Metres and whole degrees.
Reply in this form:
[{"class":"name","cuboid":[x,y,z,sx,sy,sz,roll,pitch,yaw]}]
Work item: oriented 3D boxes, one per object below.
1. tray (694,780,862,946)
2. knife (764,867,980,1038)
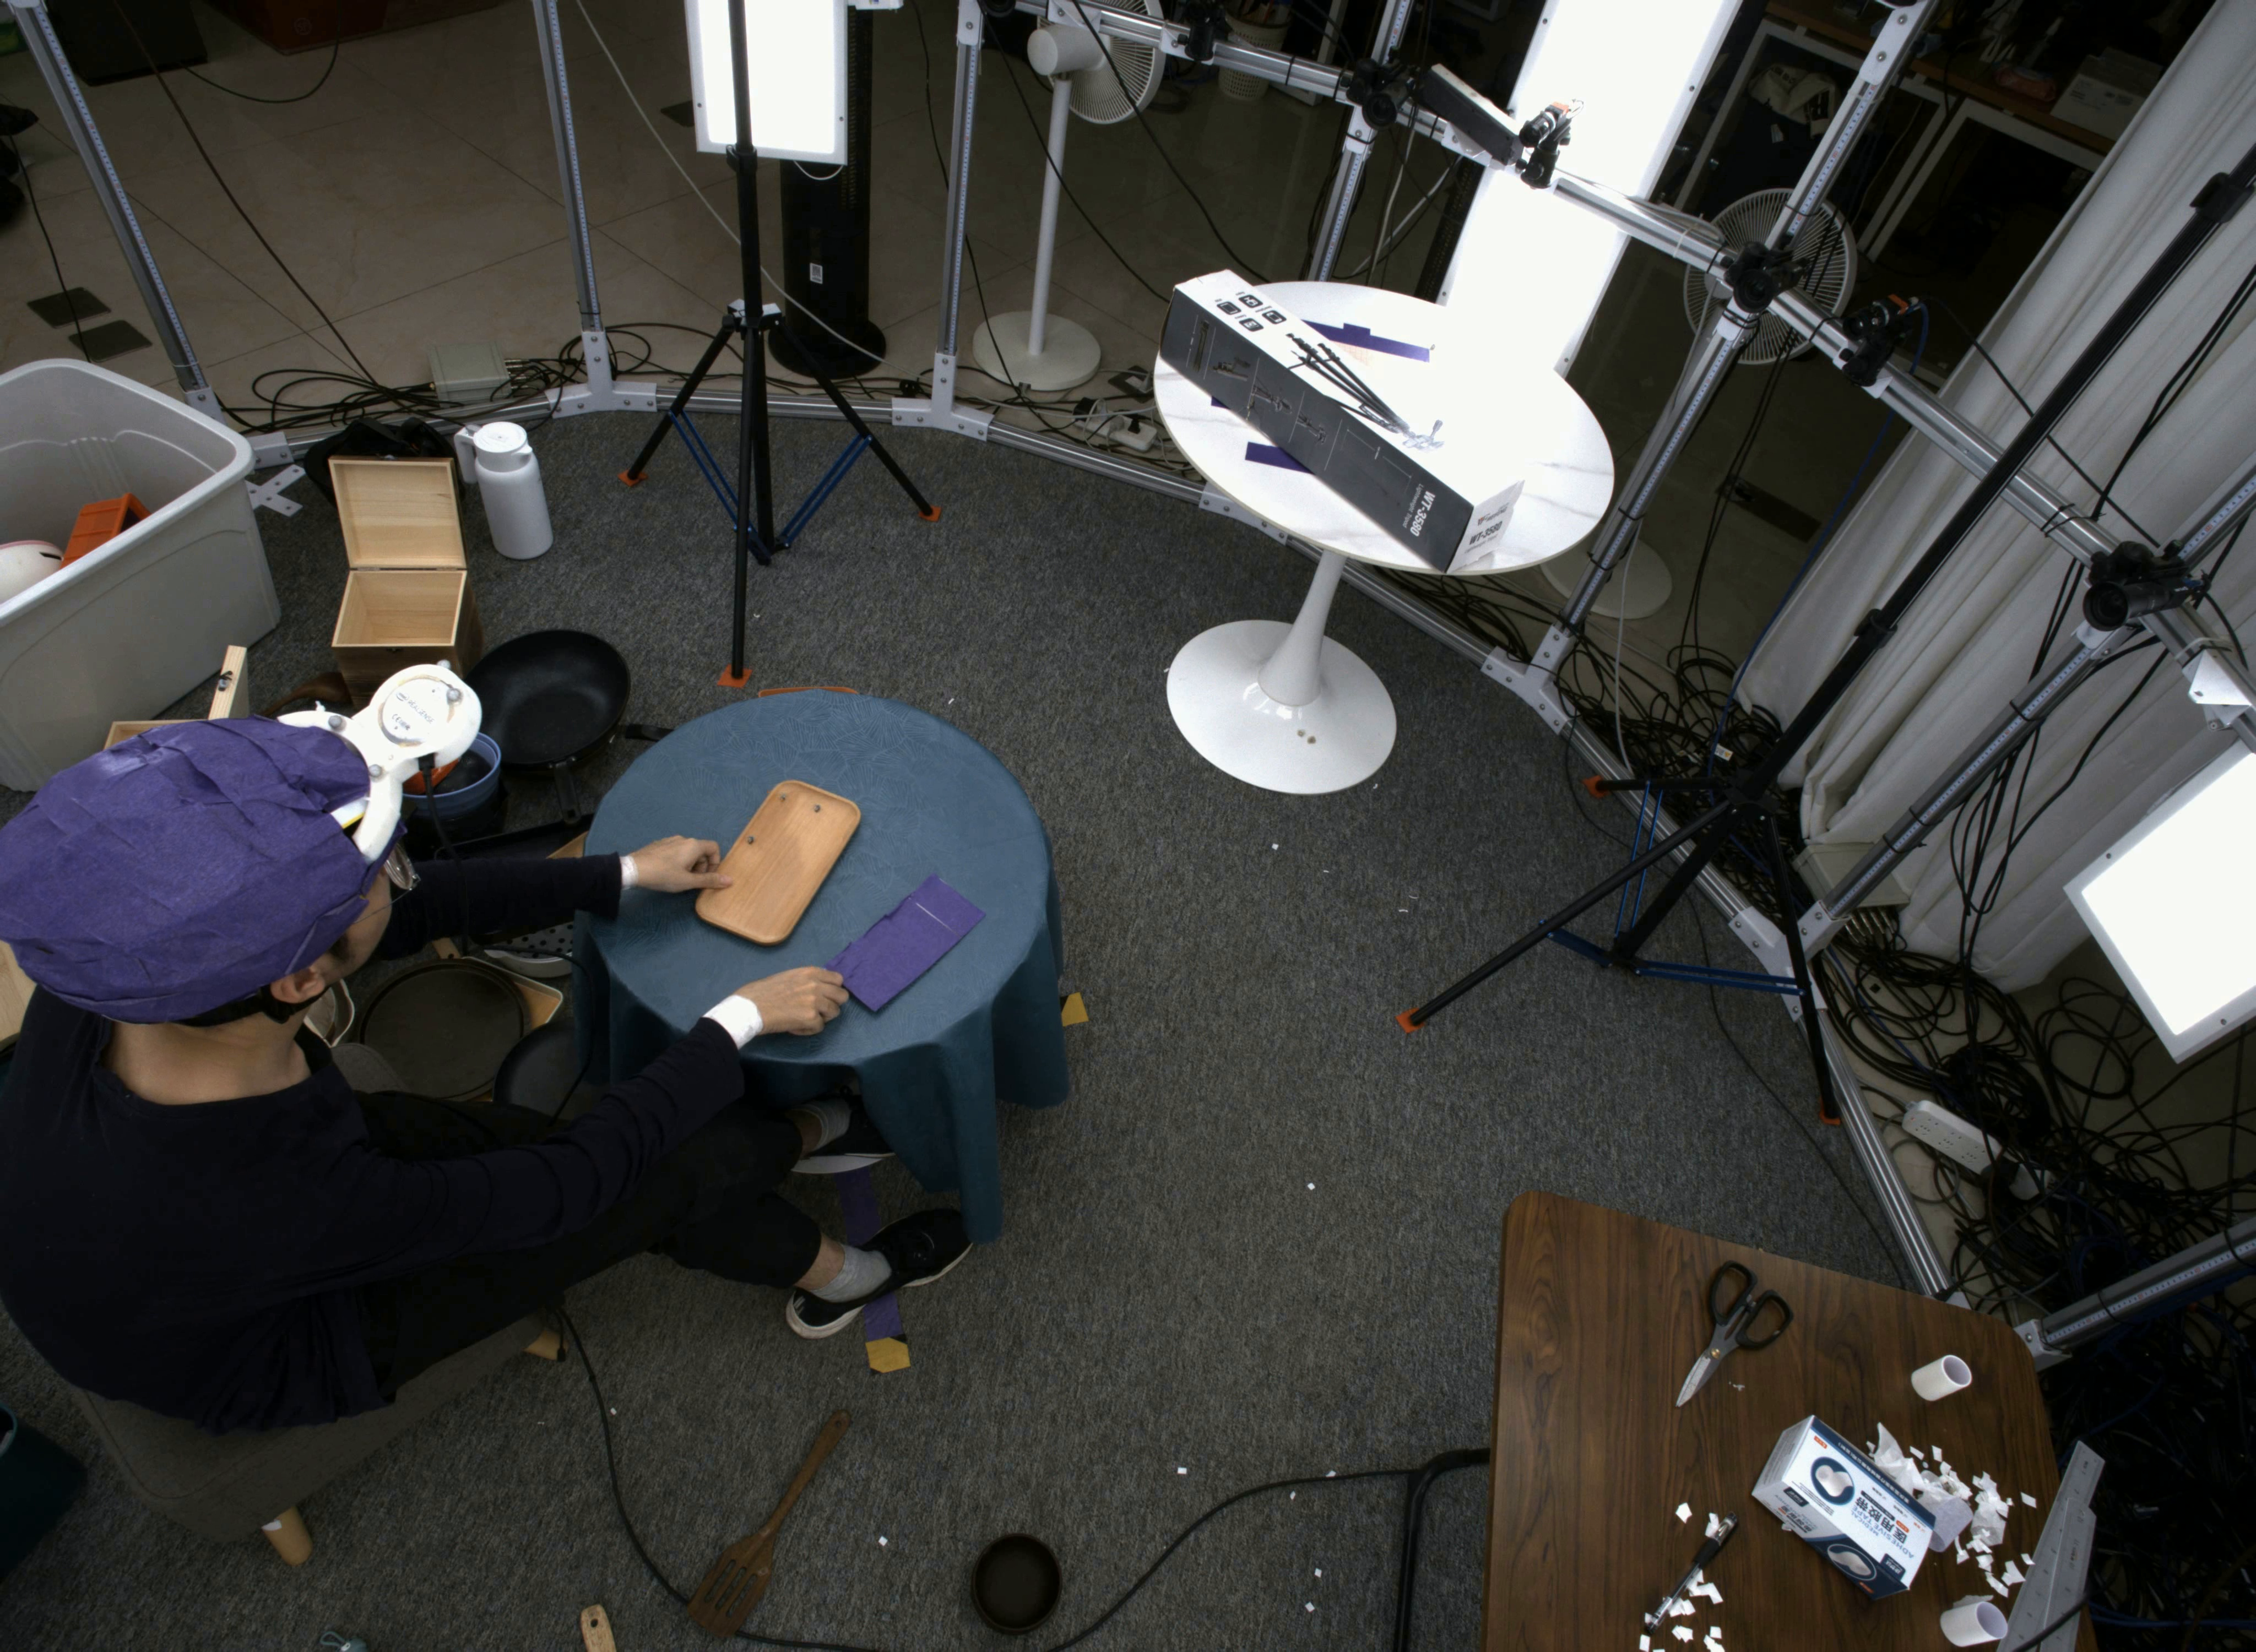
[{"class":"tray","cuboid":[-0.452,0.044,1.685,0.128,0.023,0.249,23,53,6]},{"class":"knife","cuboid":[-0.310,0.167,1.623,0.102,0.033,0.315,36,53,12]}]
